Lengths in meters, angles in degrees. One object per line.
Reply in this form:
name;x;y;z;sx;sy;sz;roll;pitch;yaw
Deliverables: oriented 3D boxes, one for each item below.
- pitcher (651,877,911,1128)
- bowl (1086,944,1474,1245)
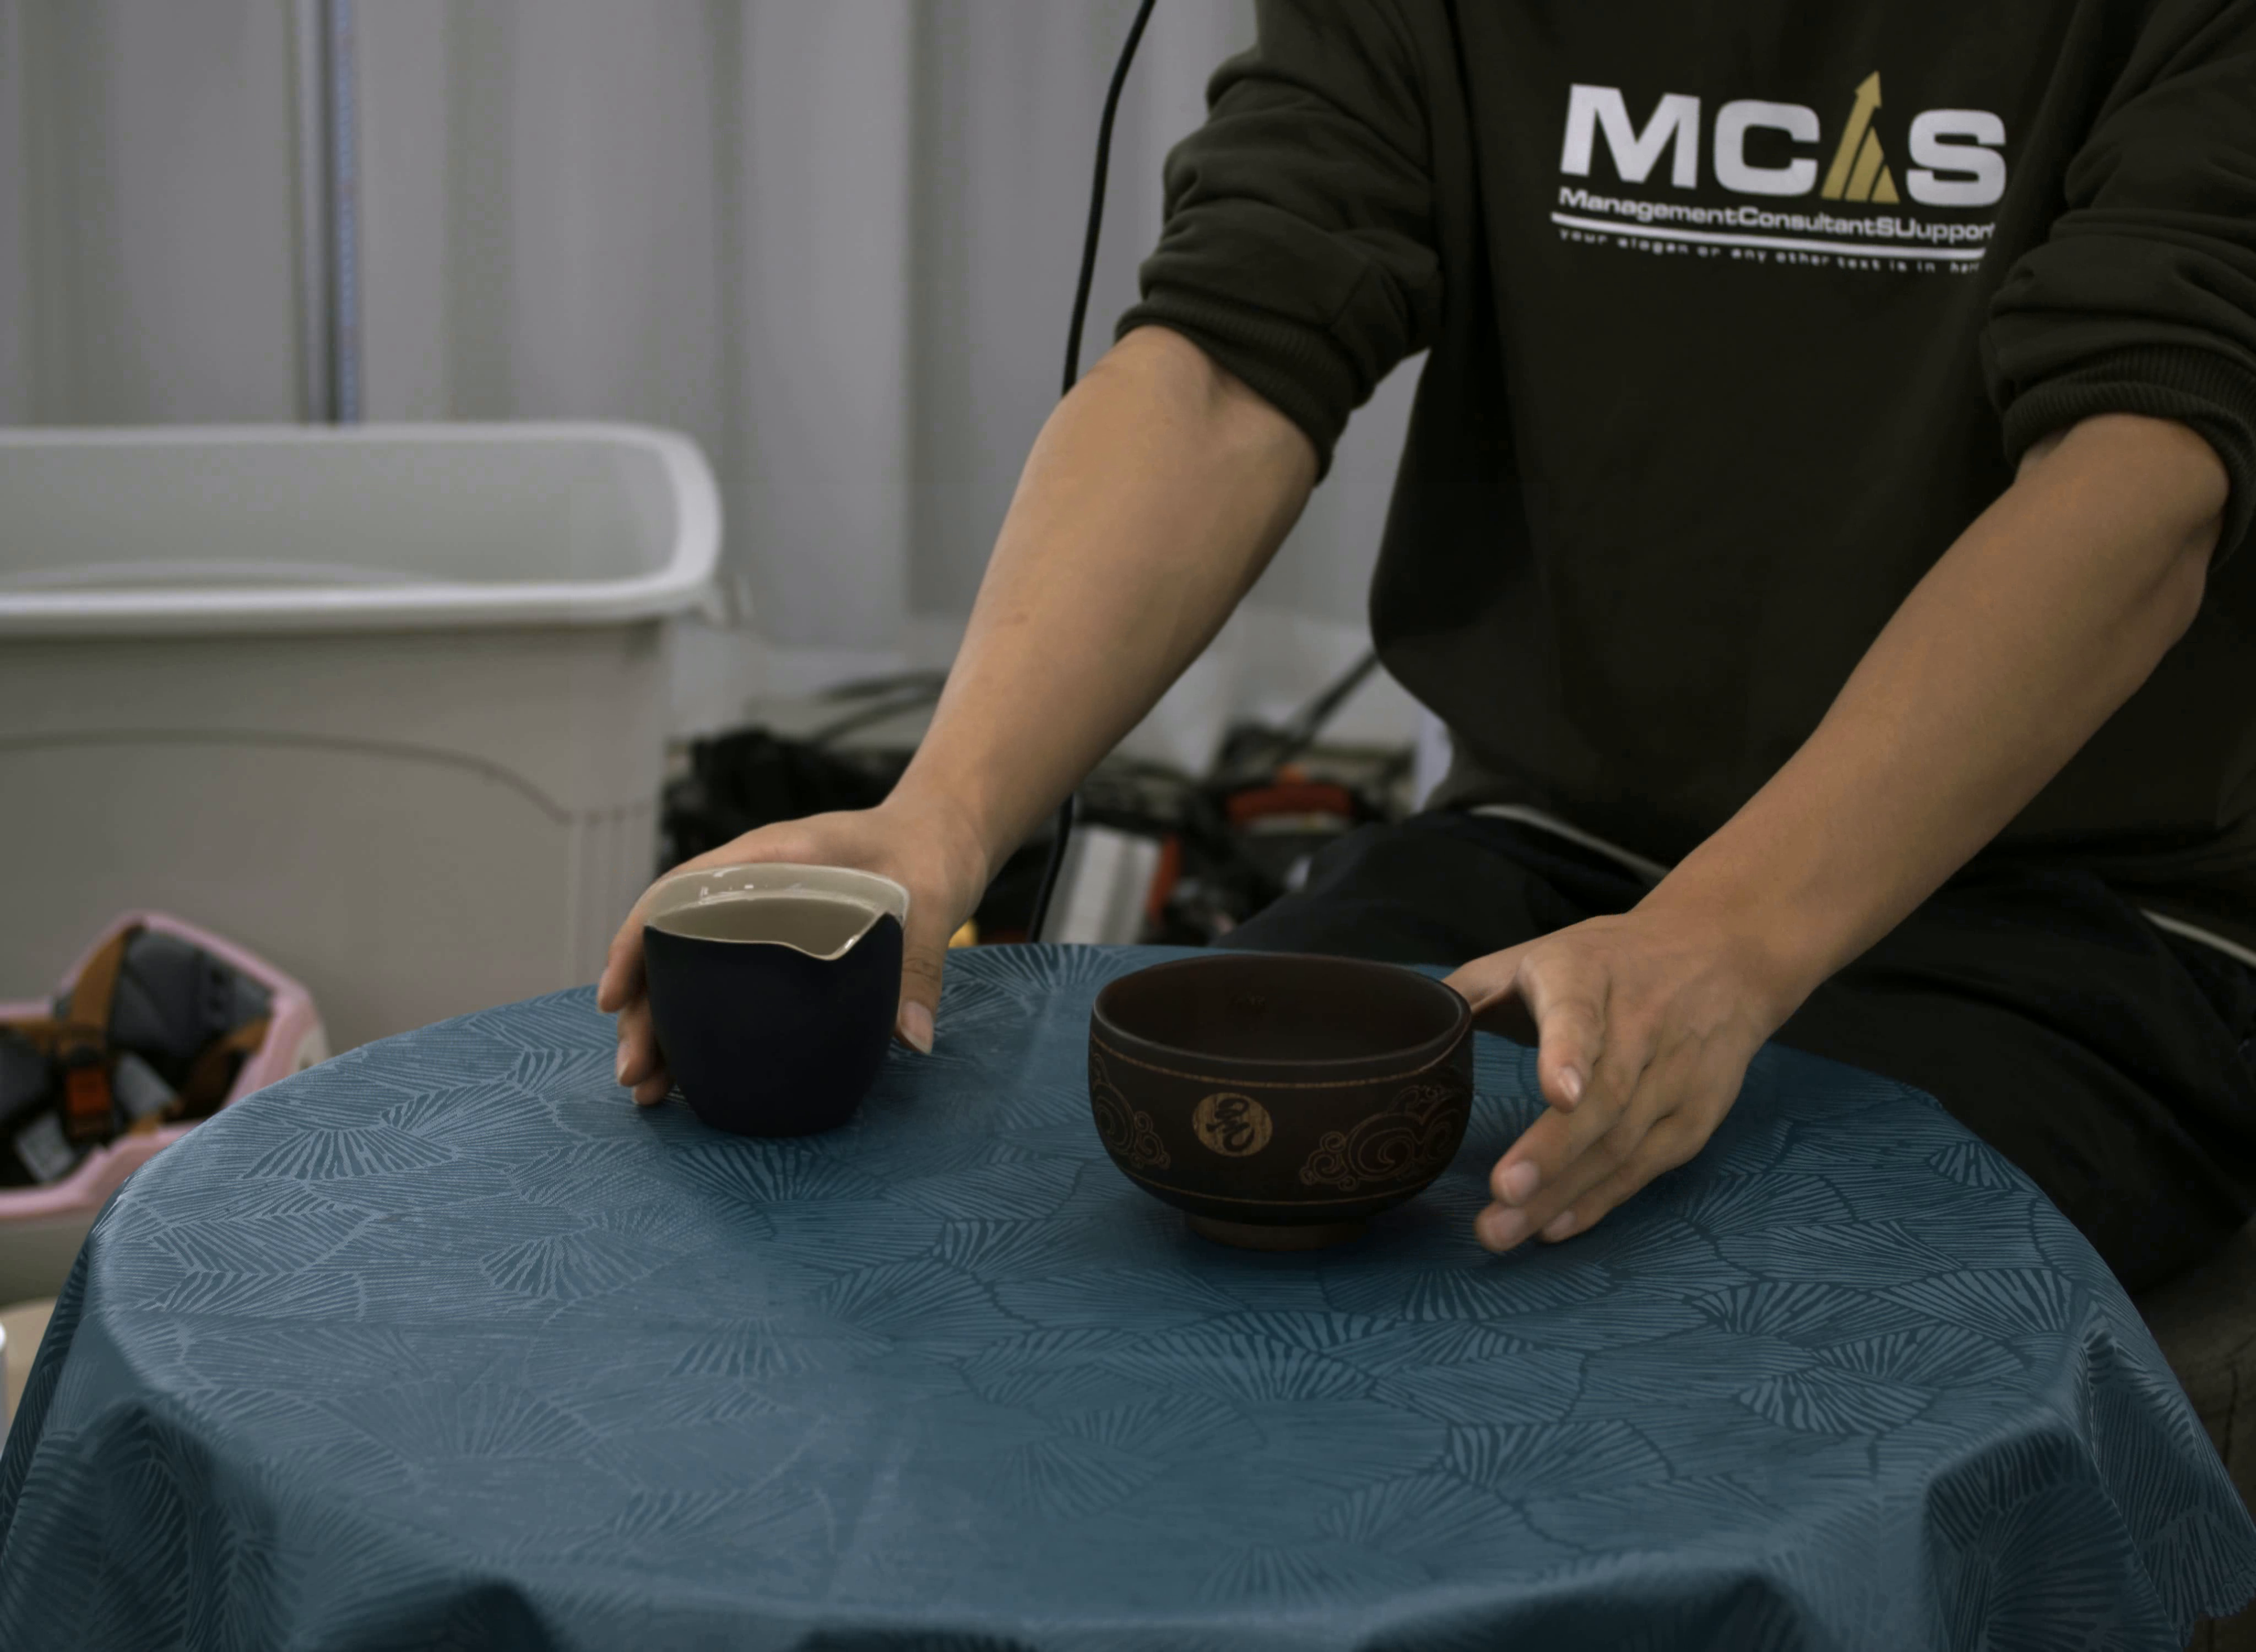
pitcher;-0.110;0.057;1.684;0.084;0.072;0.095;-2;15;-17
bowl;0.046;0.085;1.597;0.117;0.070;0.117;-1;17;1
